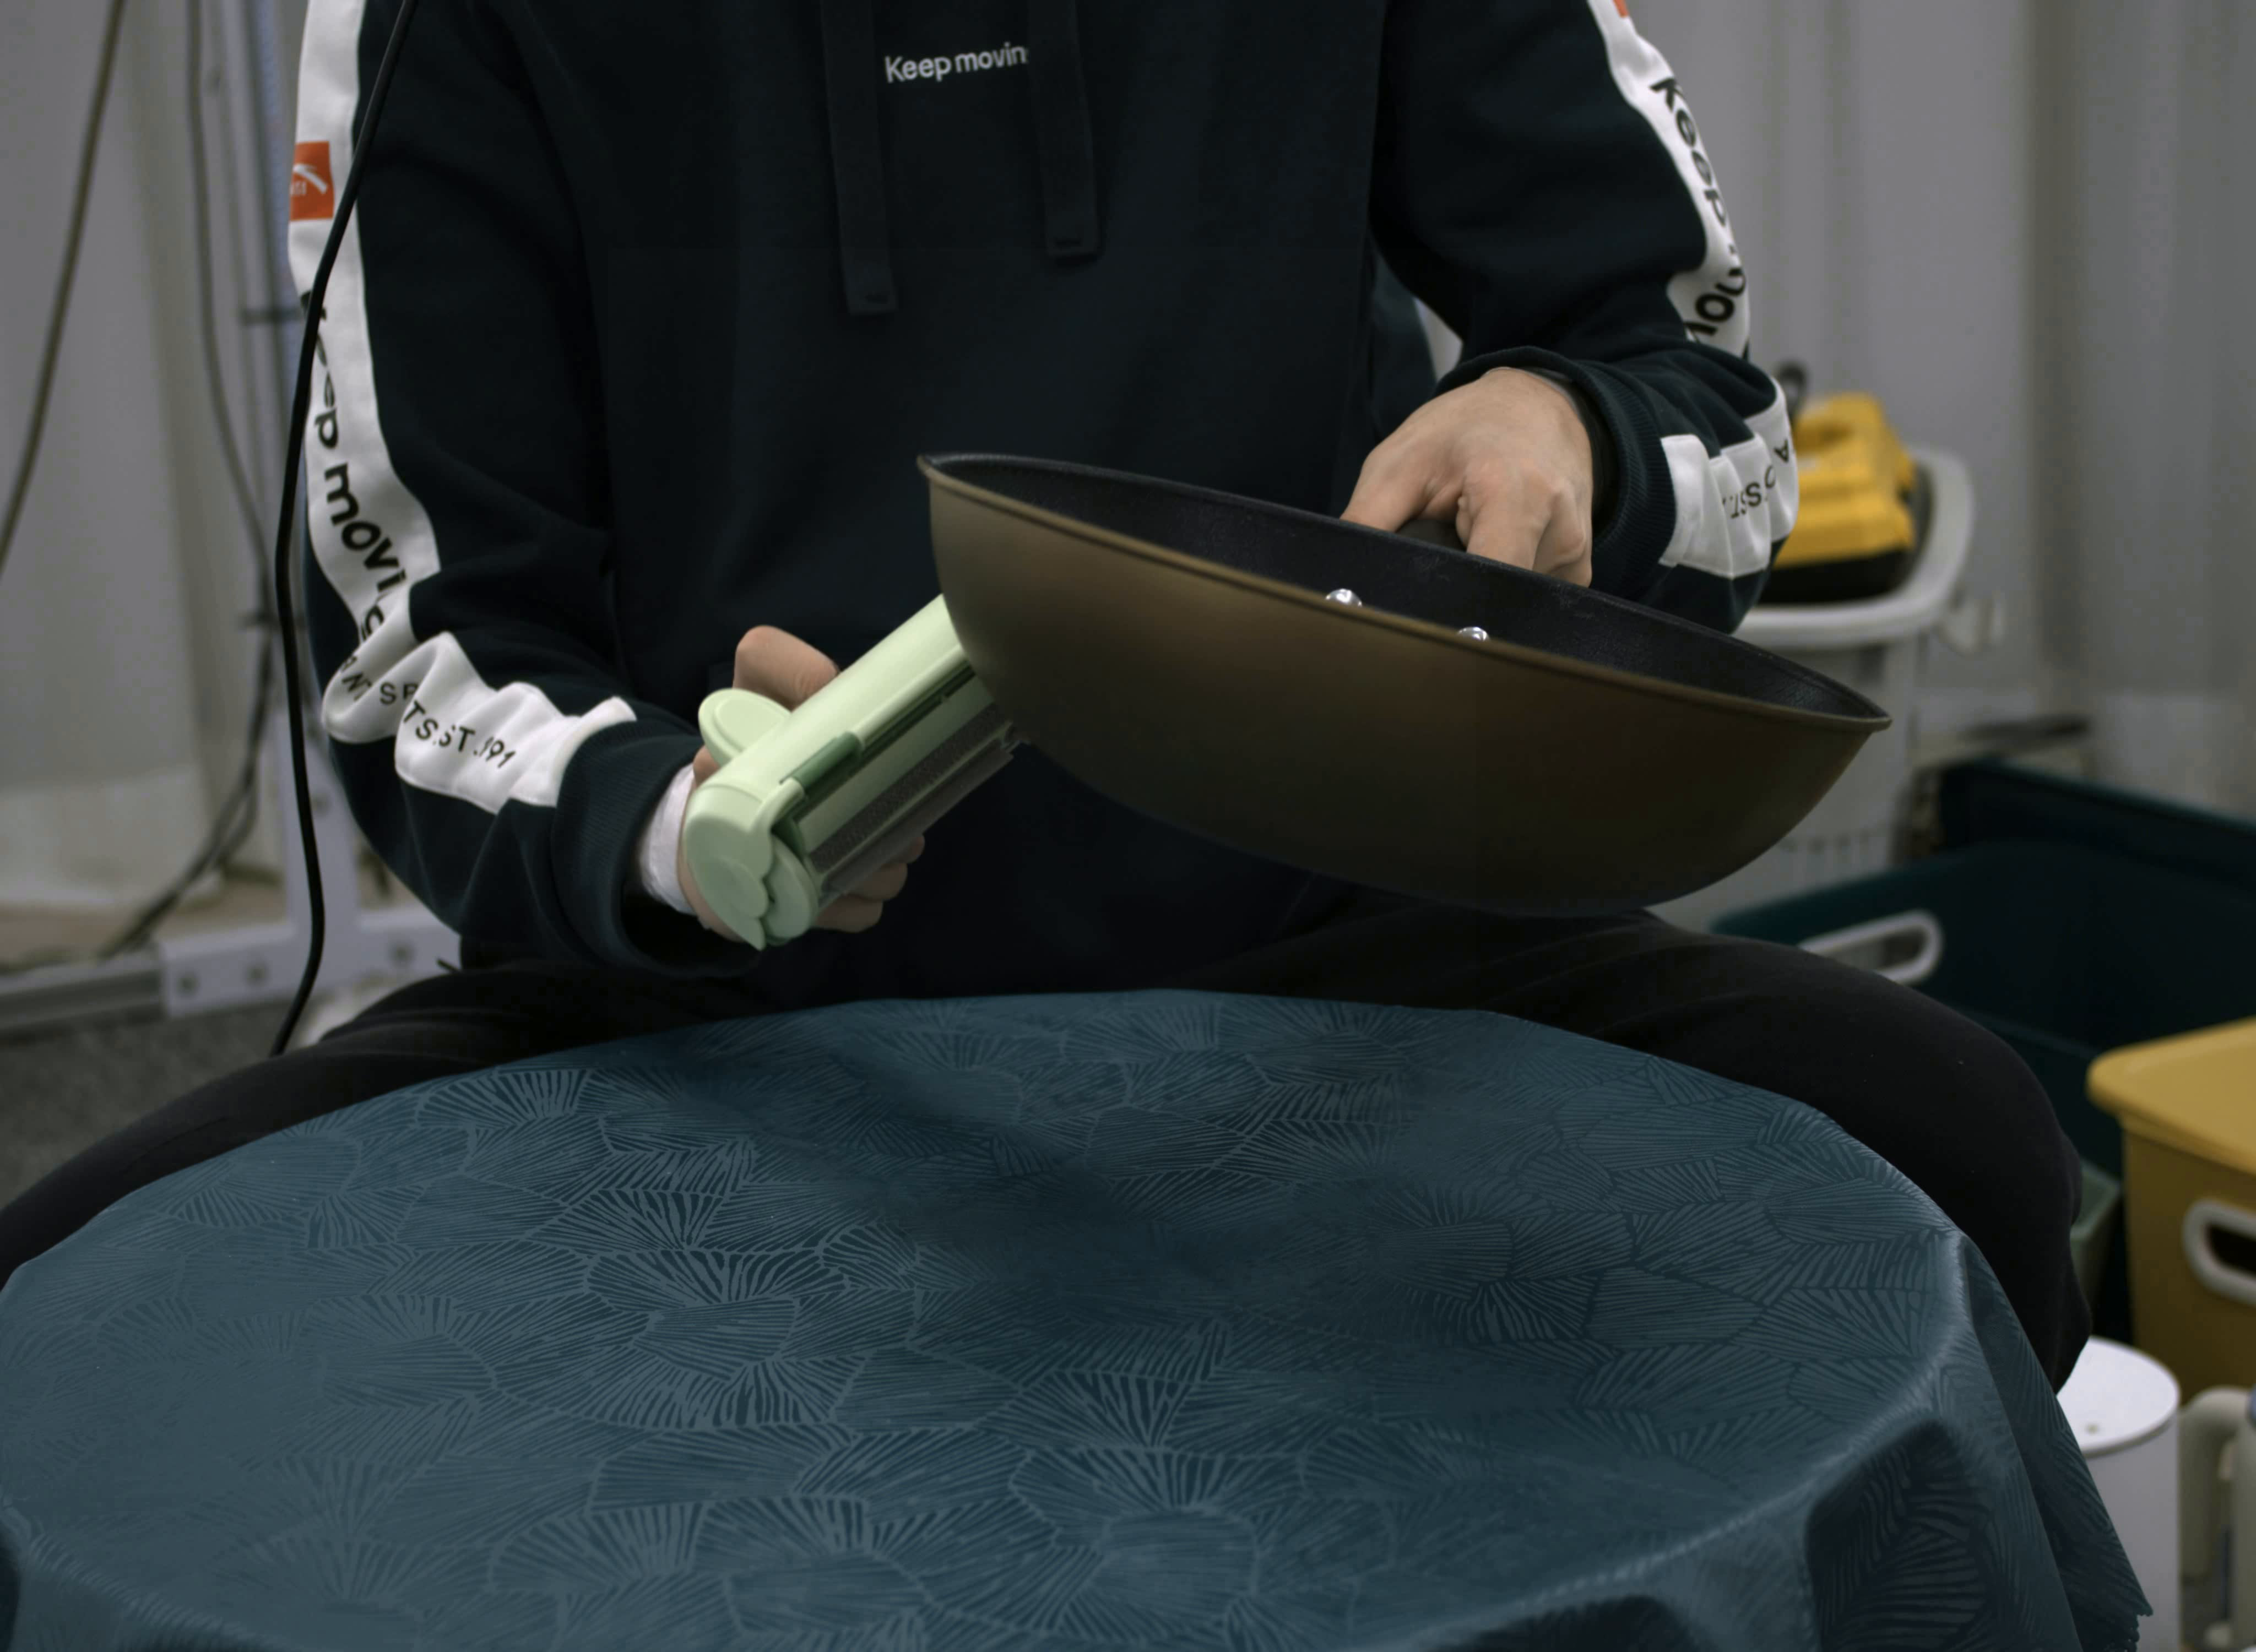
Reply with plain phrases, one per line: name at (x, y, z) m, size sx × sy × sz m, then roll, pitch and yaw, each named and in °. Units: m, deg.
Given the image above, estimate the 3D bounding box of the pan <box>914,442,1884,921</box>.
pan at (0.075, -0.044, 1.652) m, size 0.287 × 0.087 × 0.464 m, roll 16°, pitch 7°, yaw 4°

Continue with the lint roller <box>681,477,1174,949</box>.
lint roller at (-0.087, -0.028, 1.724) m, size 0.199 × 0.082 × 0.182 m, roll -41°, pitch 6°, yaw -34°
